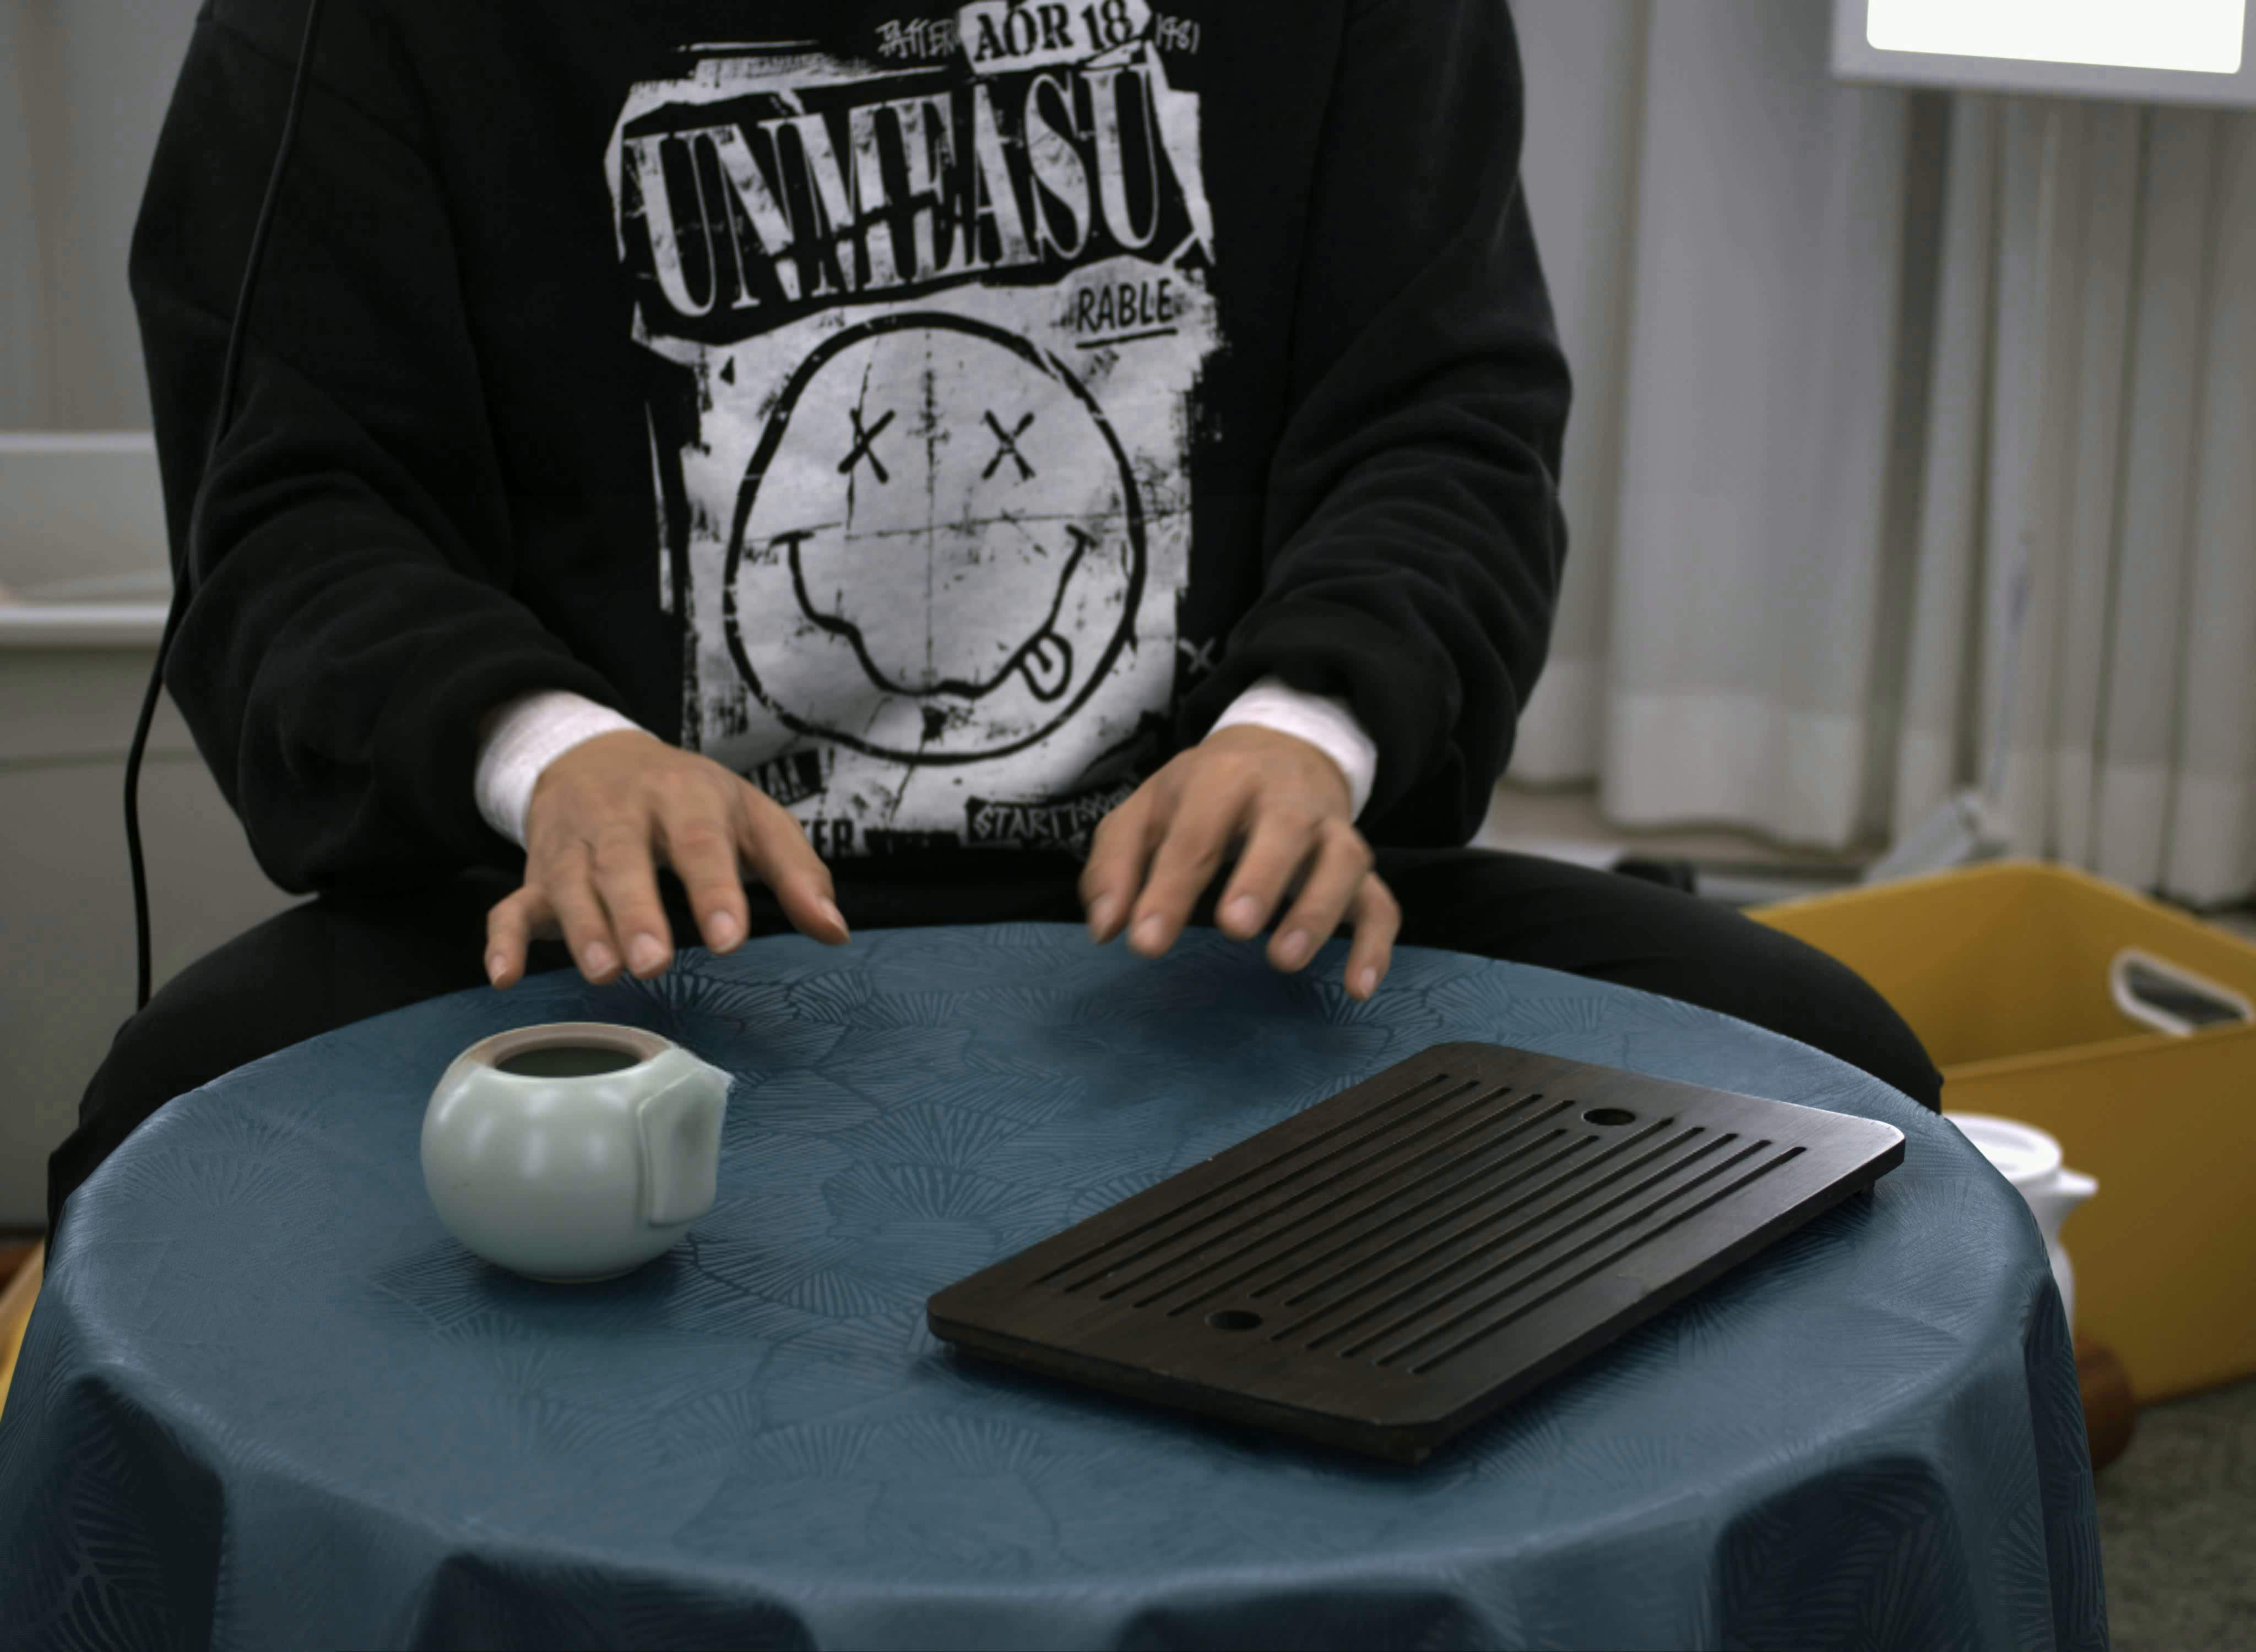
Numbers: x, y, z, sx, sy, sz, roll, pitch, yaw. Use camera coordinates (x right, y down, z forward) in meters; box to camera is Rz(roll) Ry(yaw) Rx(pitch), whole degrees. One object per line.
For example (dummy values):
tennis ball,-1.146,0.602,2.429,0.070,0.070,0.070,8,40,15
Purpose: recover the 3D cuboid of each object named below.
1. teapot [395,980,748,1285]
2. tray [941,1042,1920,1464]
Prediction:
teapot,-0.164,0.093,1.549,0.142,0.075,0.089,16,22,40
tray,0.096,0.122,1.556,0.168,0.019,0.307,10,18,32
